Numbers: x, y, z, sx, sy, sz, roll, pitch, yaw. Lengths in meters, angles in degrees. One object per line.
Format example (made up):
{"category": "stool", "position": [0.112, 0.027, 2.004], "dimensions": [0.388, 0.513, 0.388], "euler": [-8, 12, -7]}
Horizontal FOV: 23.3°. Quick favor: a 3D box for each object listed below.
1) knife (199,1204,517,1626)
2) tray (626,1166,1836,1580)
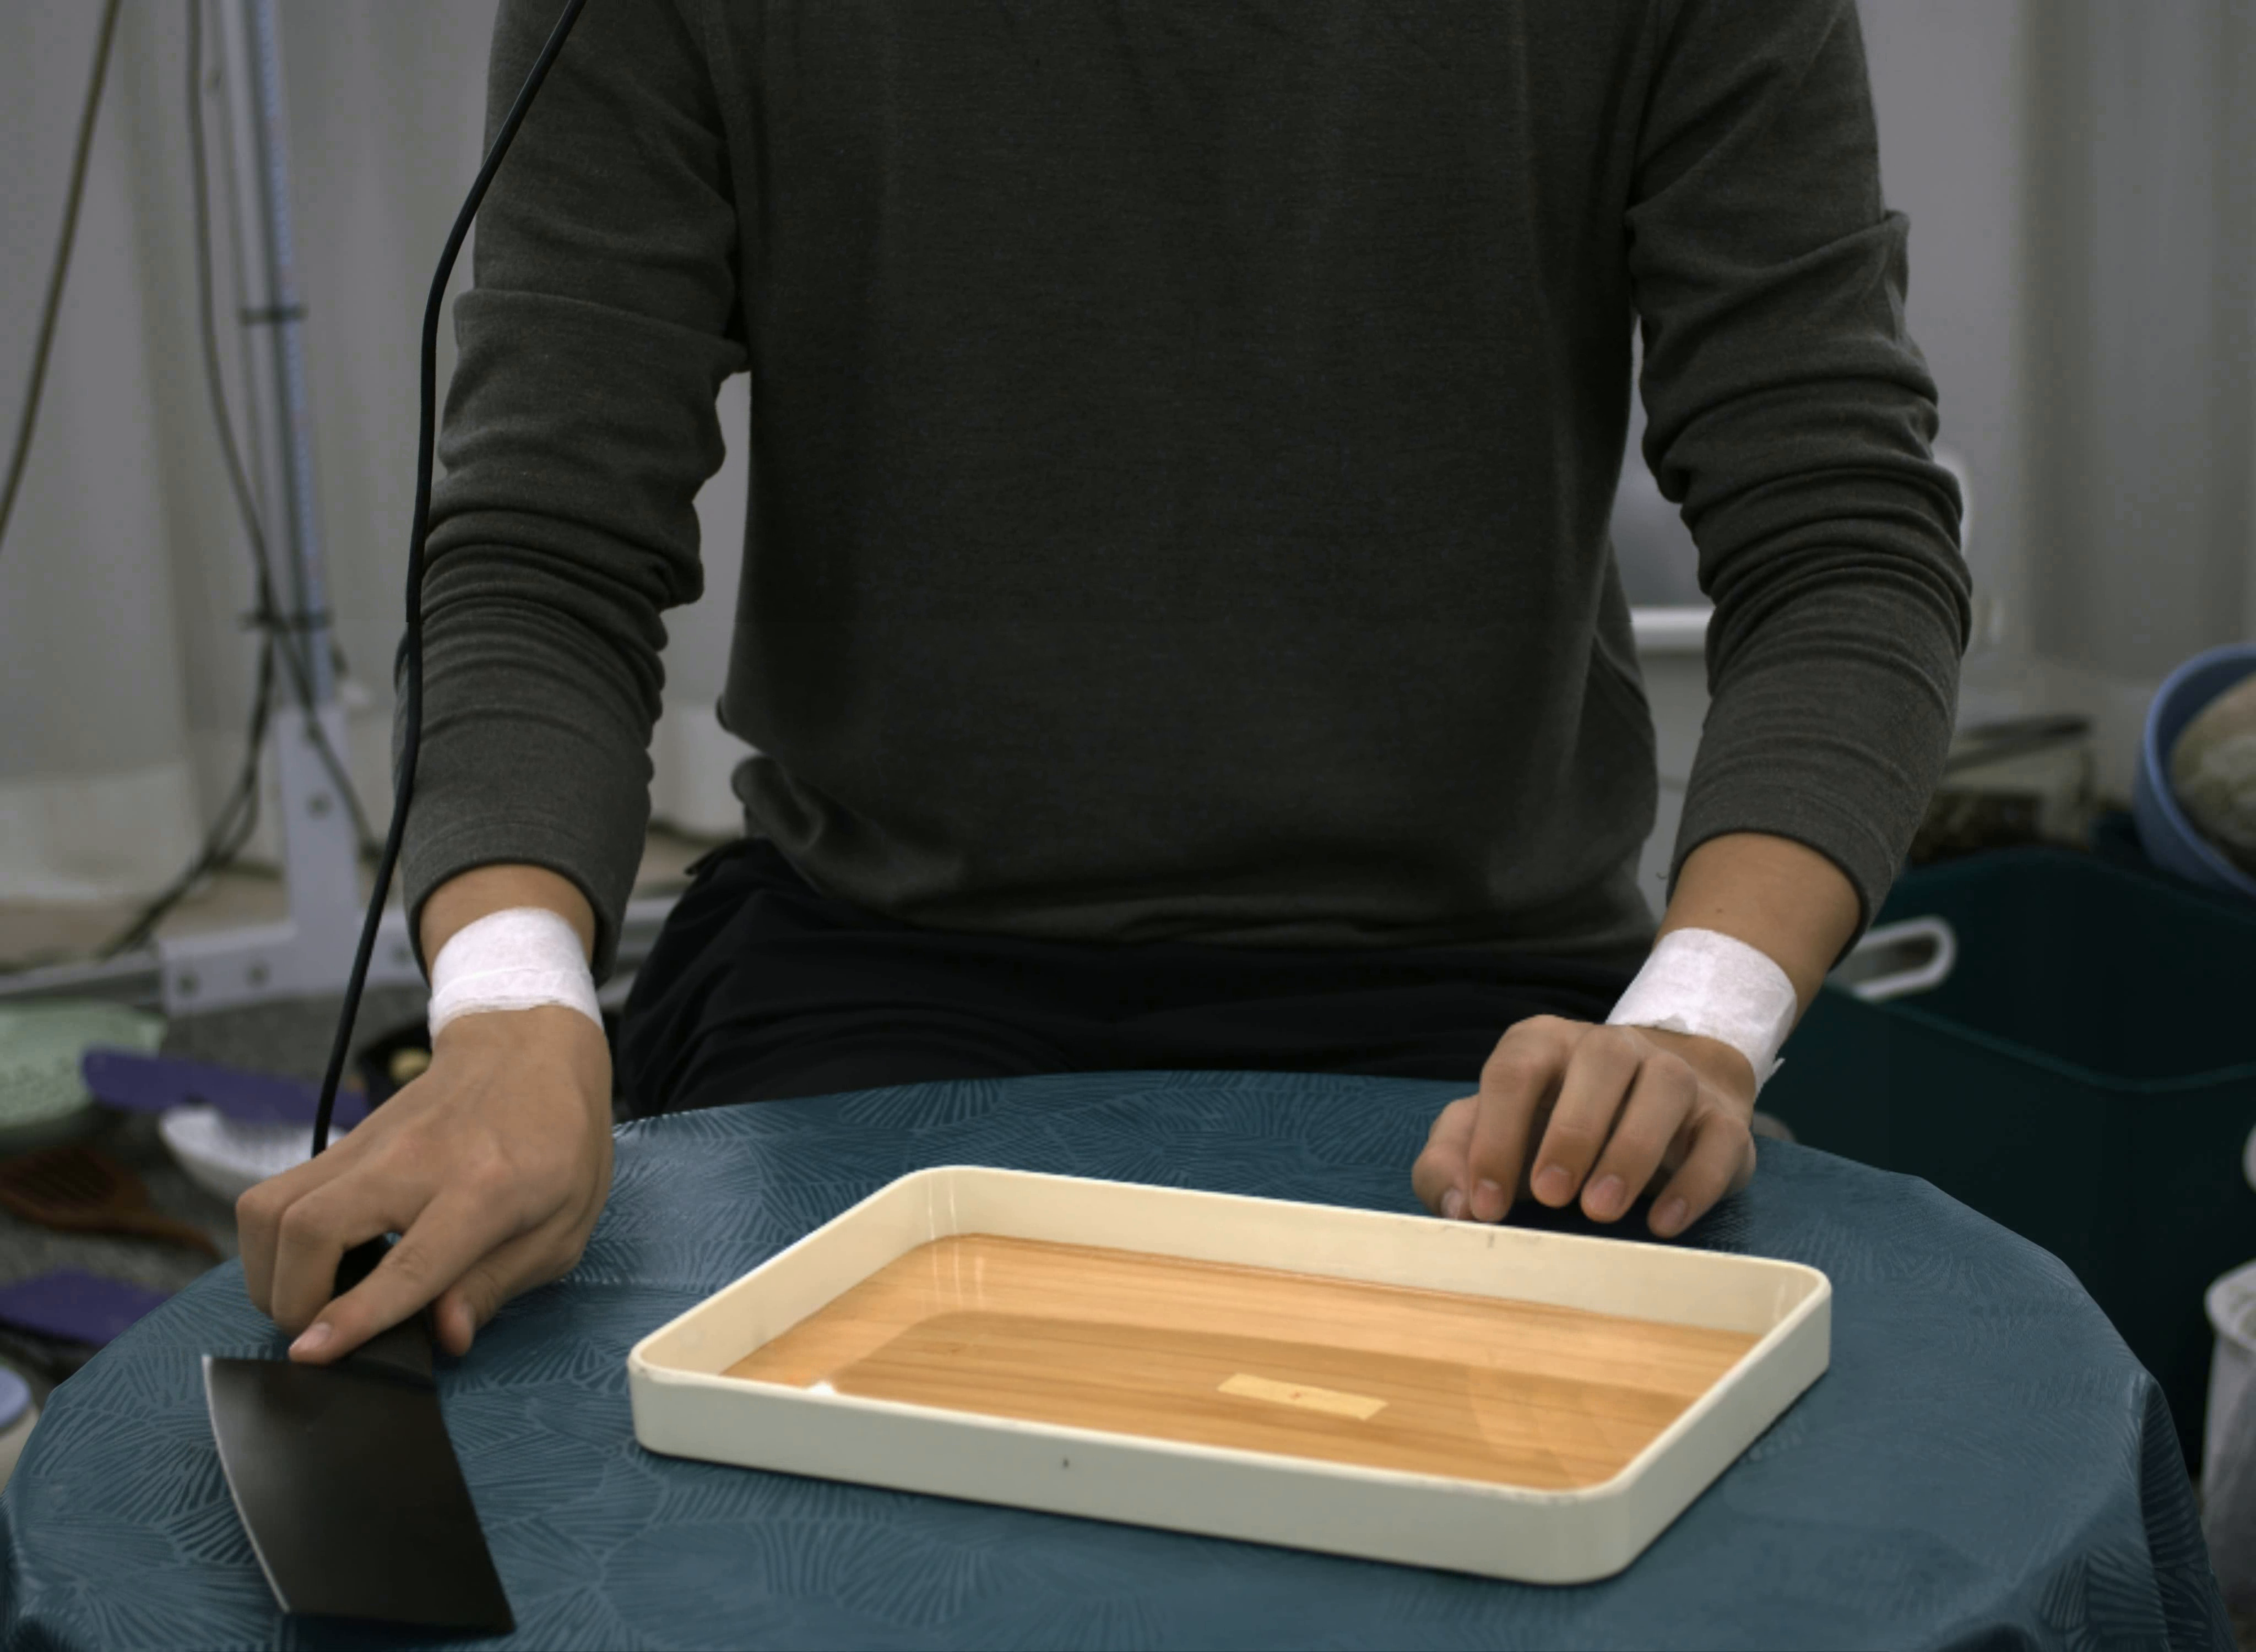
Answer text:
{"category": "knife", "position": [-0.220, 0.162, 1.529], "dimensions": [0.080, 0.021, 0.305], "euler": [10, 12, -13]}
{"category": "tray", "position": [0.030, 0.149, 1.530], "dimensions": [0.301, 0.027, 0.192], "euler": [5, 16, 27]}
